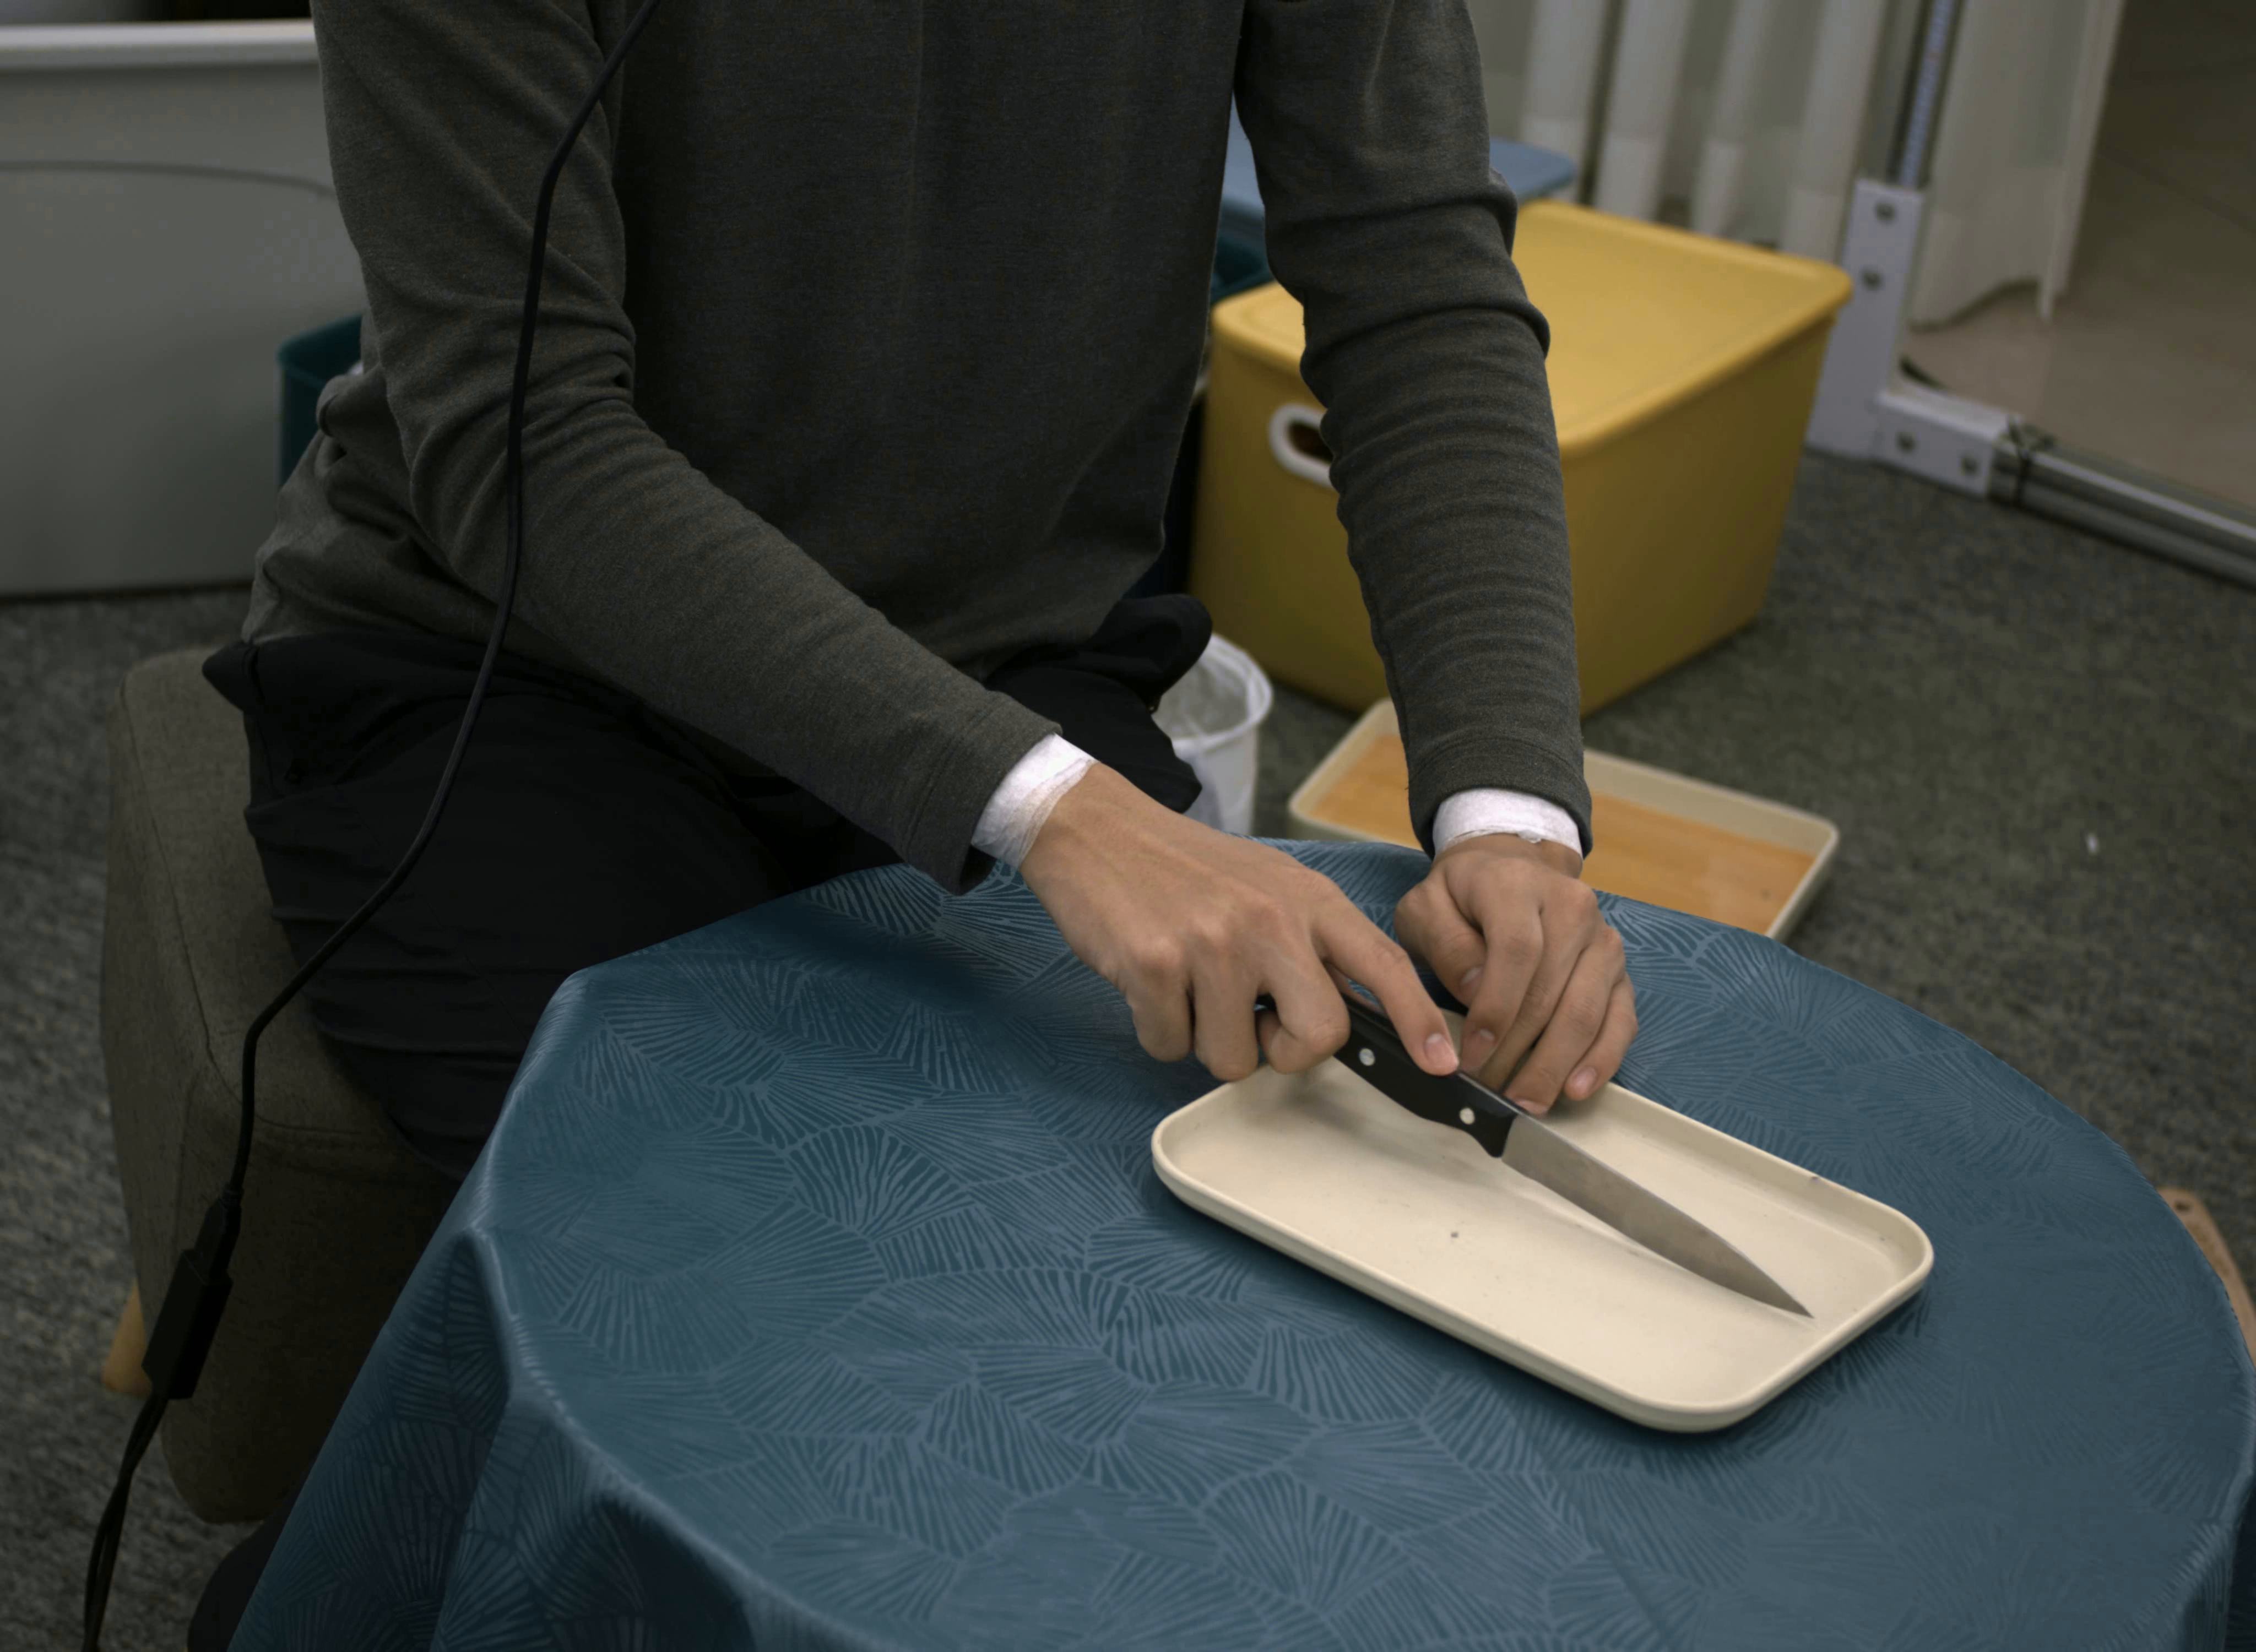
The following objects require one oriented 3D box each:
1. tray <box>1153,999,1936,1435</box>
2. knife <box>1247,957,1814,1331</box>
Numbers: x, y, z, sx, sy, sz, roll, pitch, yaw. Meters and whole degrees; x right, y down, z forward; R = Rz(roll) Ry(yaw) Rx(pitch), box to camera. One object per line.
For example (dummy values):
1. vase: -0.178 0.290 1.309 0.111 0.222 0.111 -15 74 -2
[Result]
1. tray: 0.140 0.131 1.804 0.241 0.017 0.170 25 33 32
2. knife: 0.137 0.107 1.814 0.239 0.024 0.016 32 33 25
